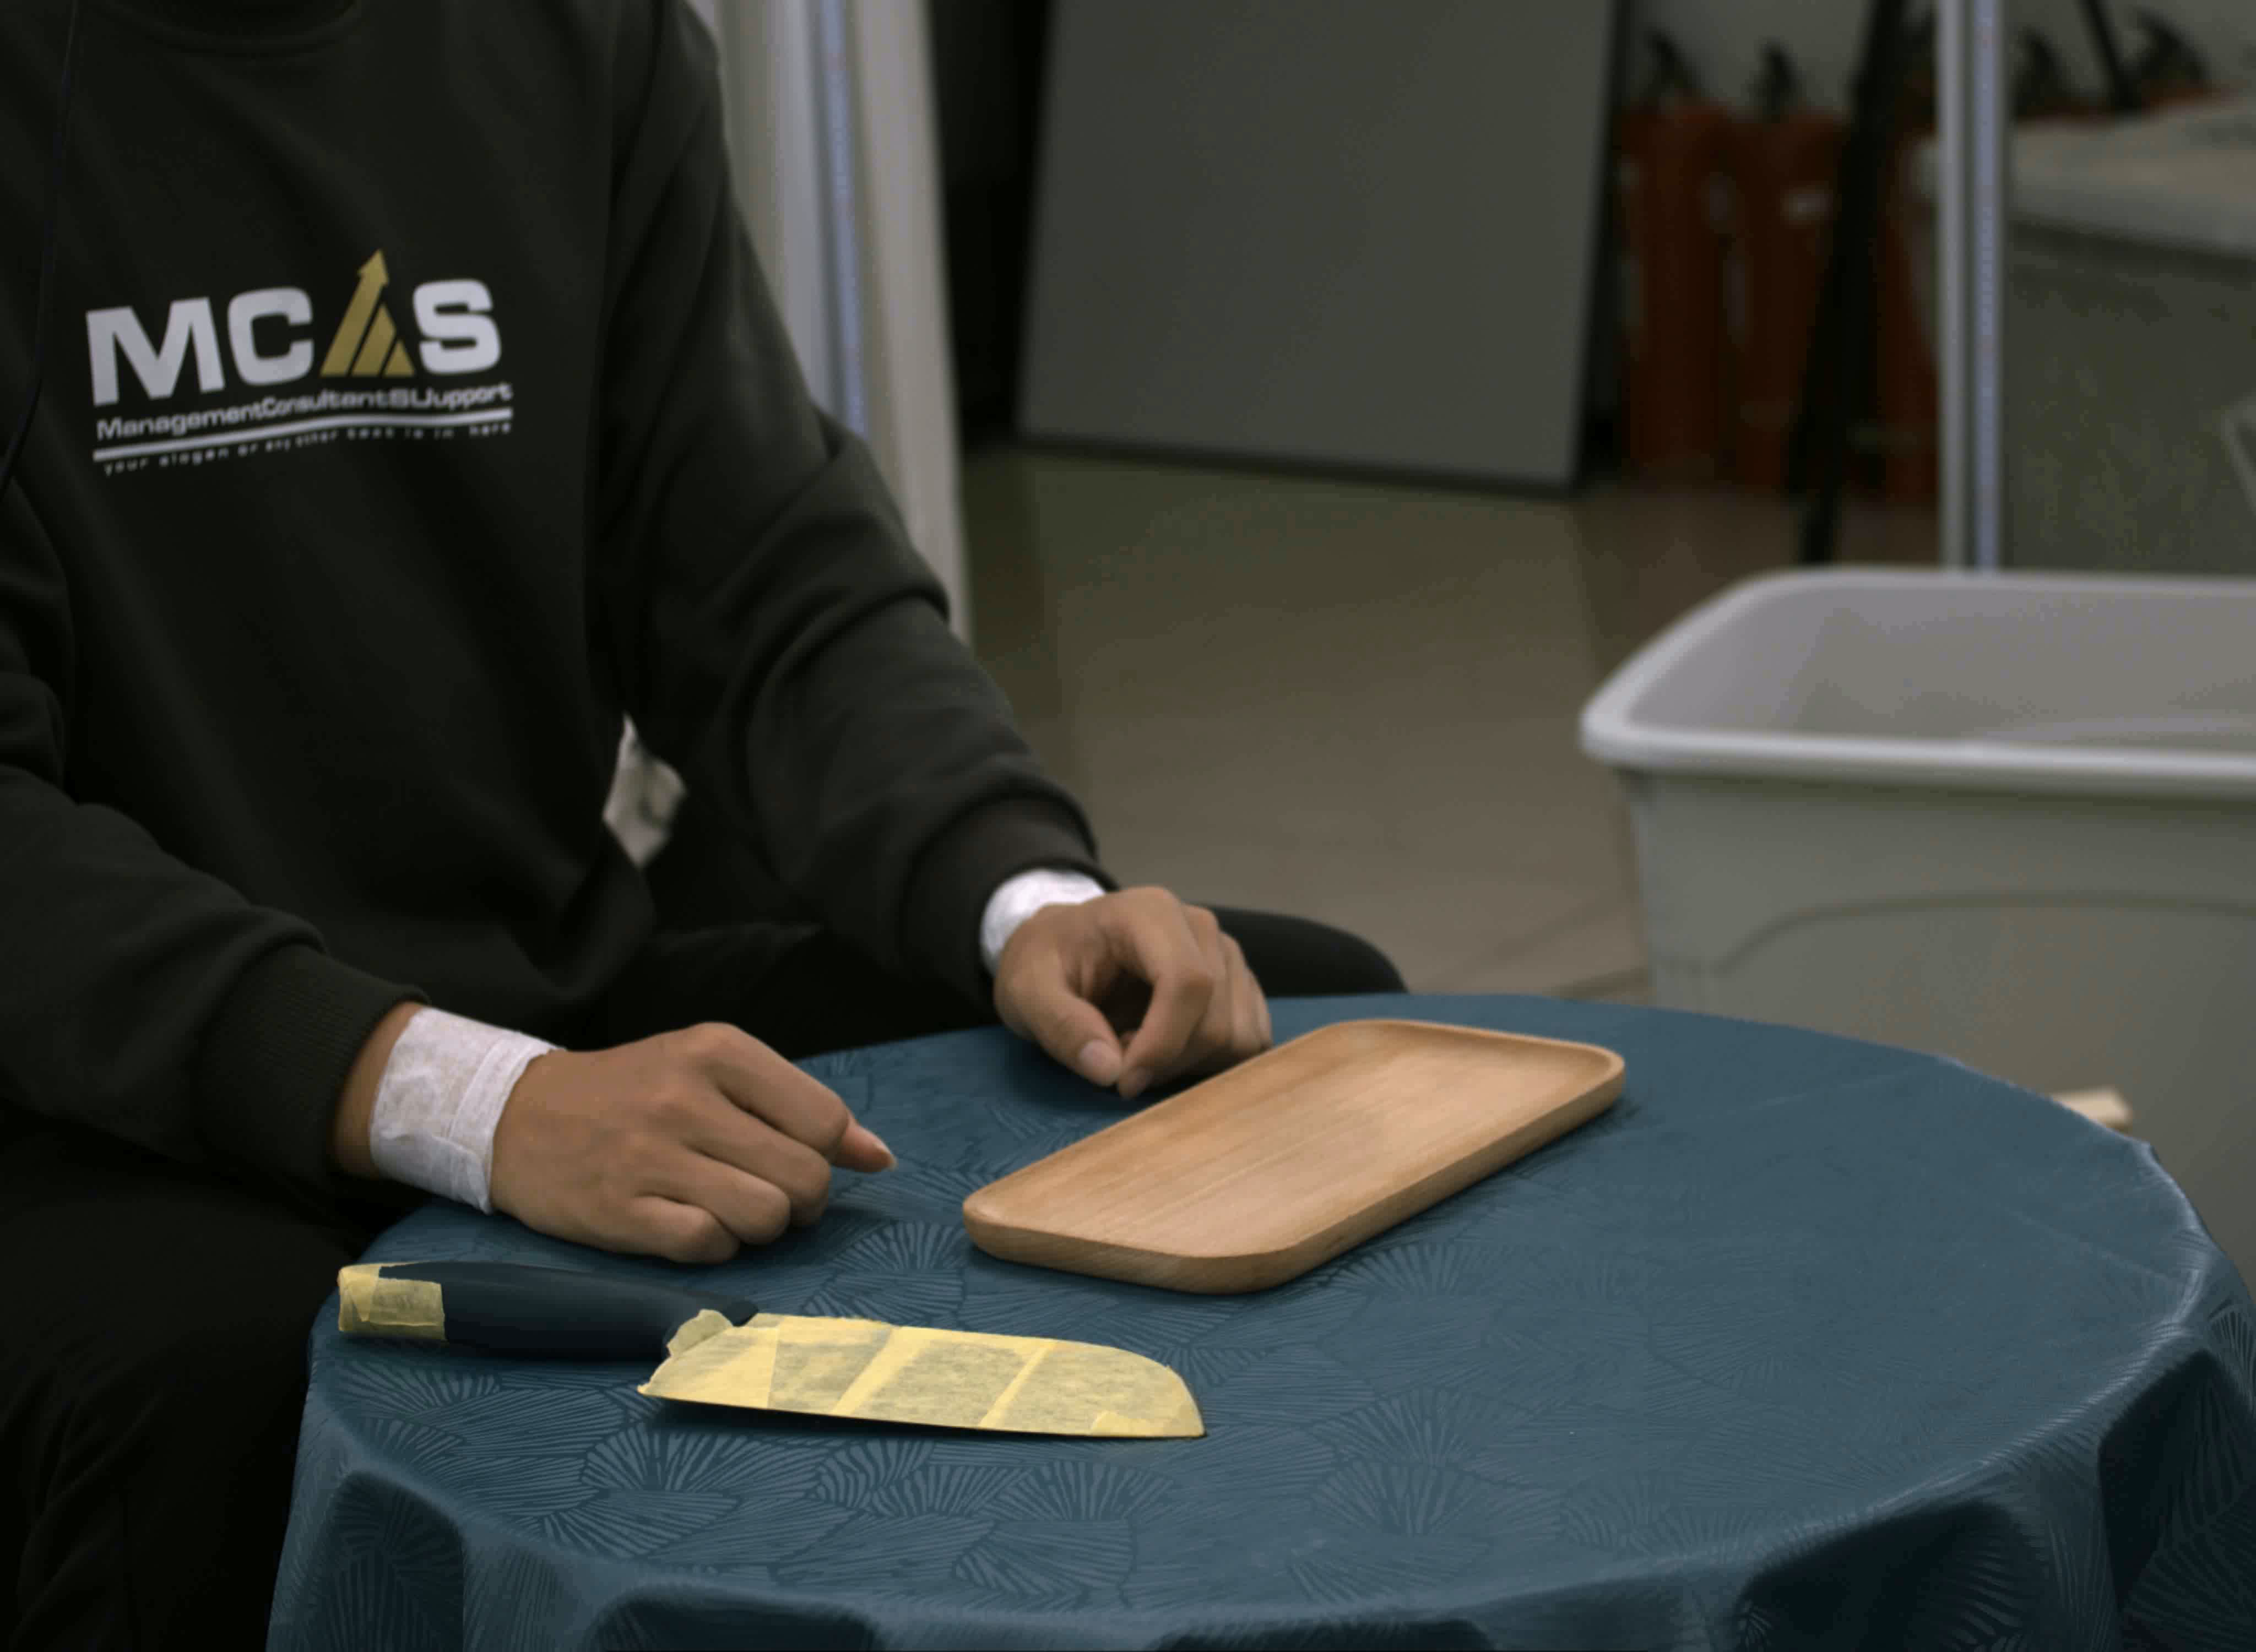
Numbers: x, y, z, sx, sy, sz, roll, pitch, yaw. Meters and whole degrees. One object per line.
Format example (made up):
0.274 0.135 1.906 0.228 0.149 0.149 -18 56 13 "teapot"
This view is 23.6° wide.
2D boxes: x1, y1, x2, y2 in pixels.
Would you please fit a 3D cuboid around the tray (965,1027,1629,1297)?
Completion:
0.060 0.109 1.776 0.131 0.023 0.246 2 15 37 "tray"

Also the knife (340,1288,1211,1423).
-0.111 0.161 1.611 0.289 0.027 0.080 2 13 20 "knife"
